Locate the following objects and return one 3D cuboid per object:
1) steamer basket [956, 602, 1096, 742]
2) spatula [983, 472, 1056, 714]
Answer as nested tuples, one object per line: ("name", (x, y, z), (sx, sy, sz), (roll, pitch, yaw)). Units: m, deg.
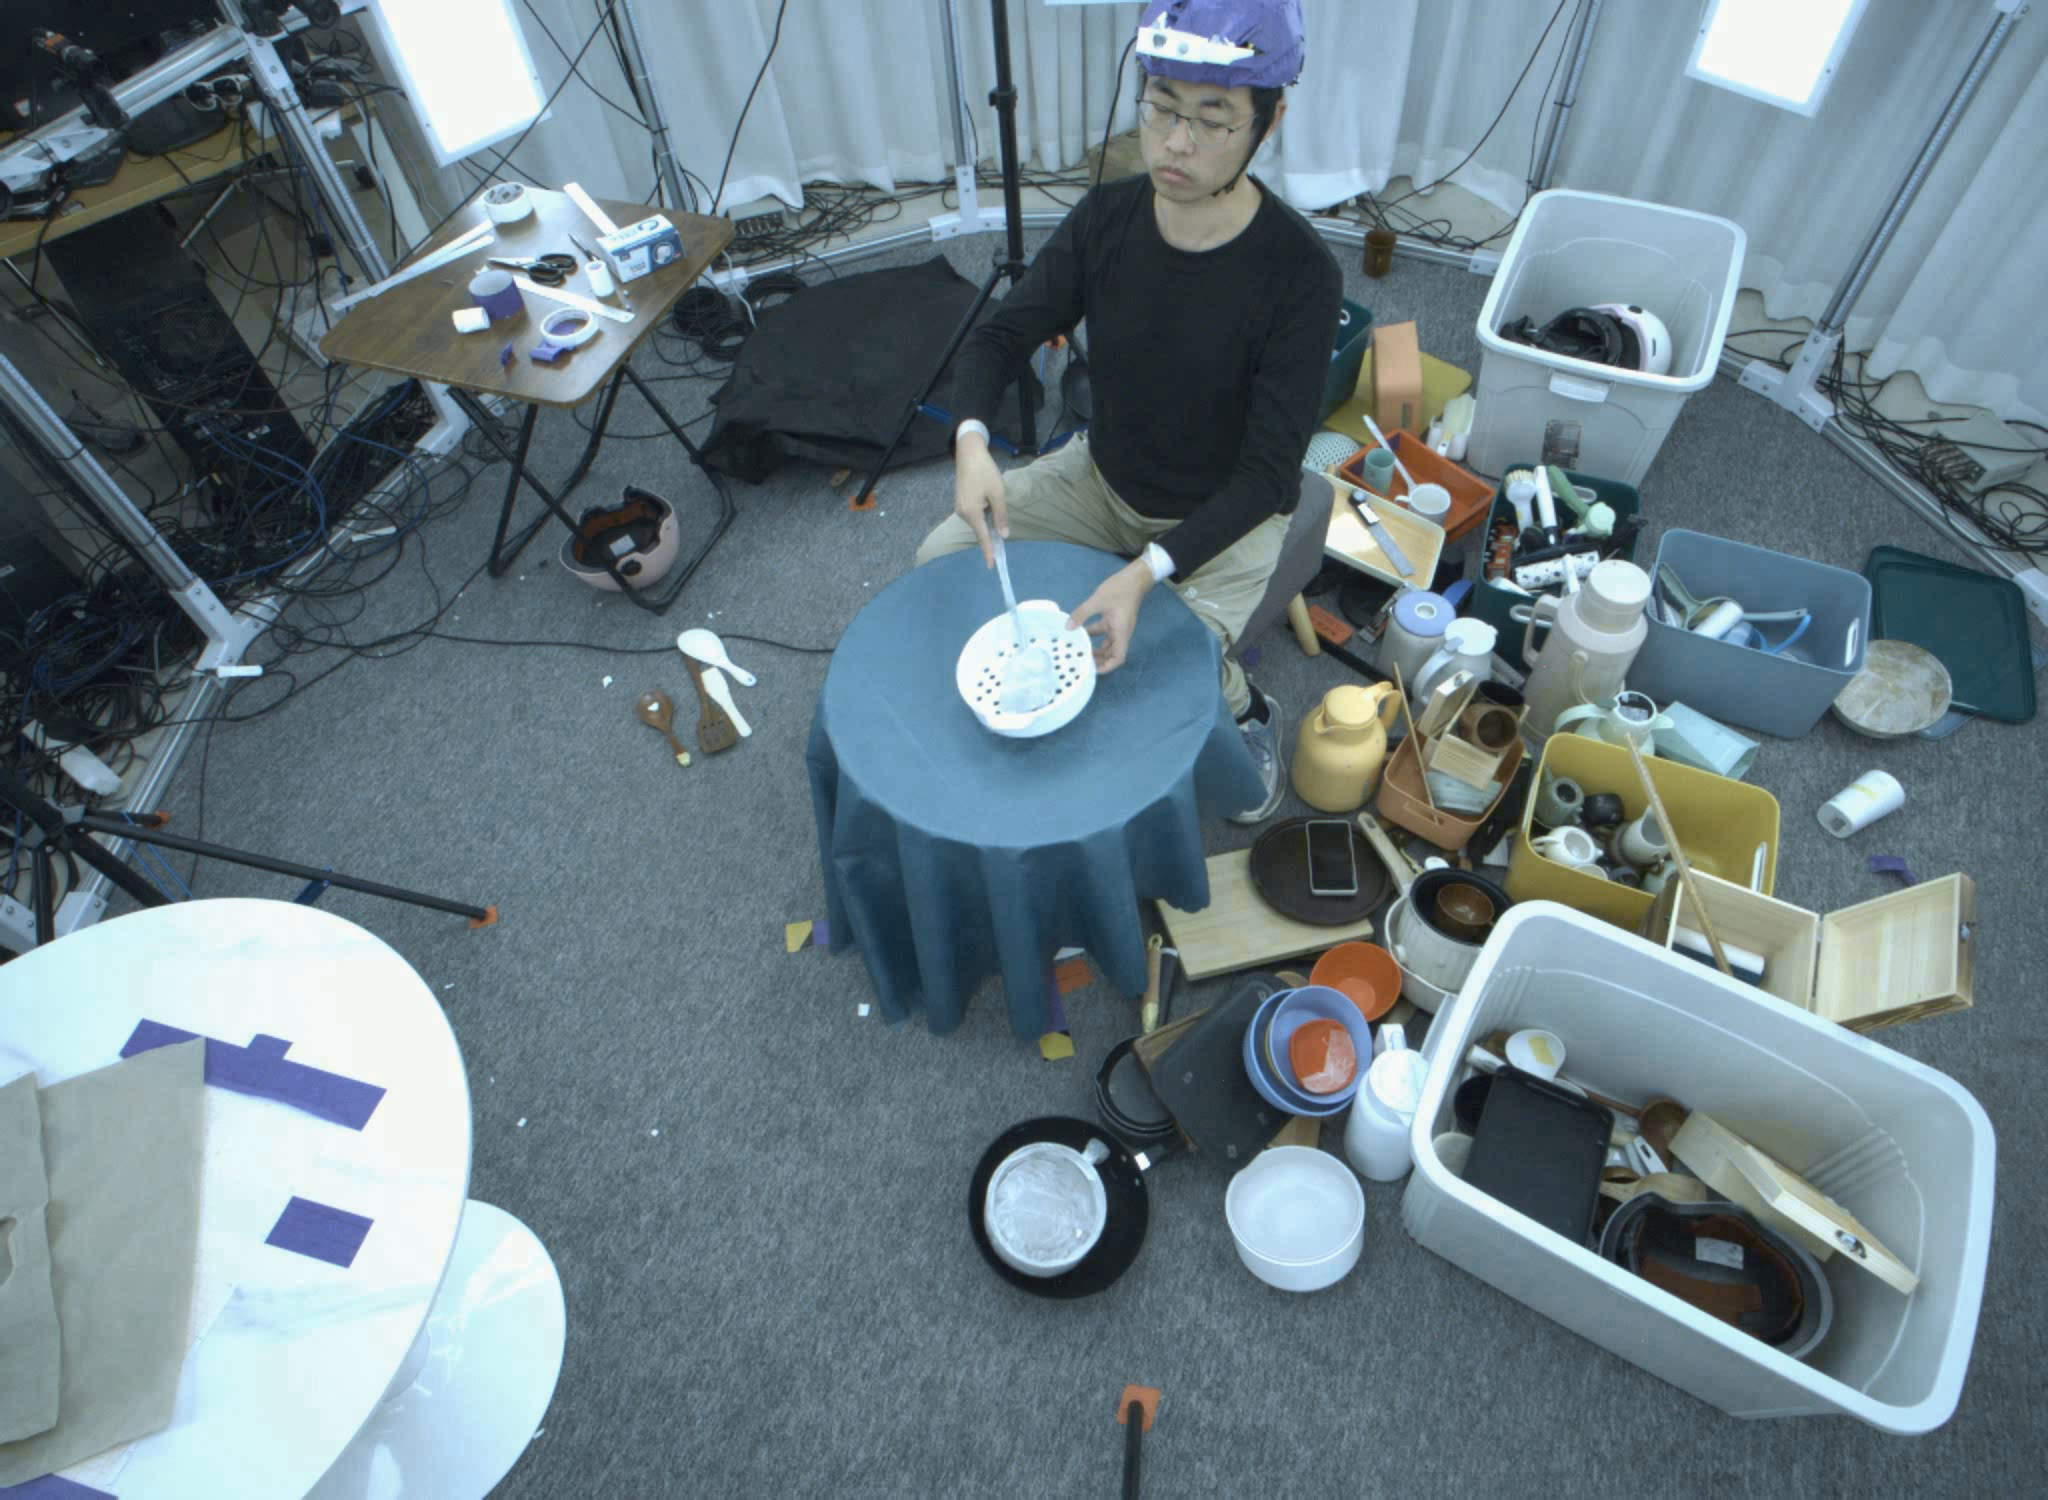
("steamer basket", (0.006, -0.108, 1.793), (0.199, 0.070, 0.229), (3, 60, 17))
("spatula", (-0.024, -0.234, 1.799), (0.097, 0.045, 0.364), (-14, 90, 31))
